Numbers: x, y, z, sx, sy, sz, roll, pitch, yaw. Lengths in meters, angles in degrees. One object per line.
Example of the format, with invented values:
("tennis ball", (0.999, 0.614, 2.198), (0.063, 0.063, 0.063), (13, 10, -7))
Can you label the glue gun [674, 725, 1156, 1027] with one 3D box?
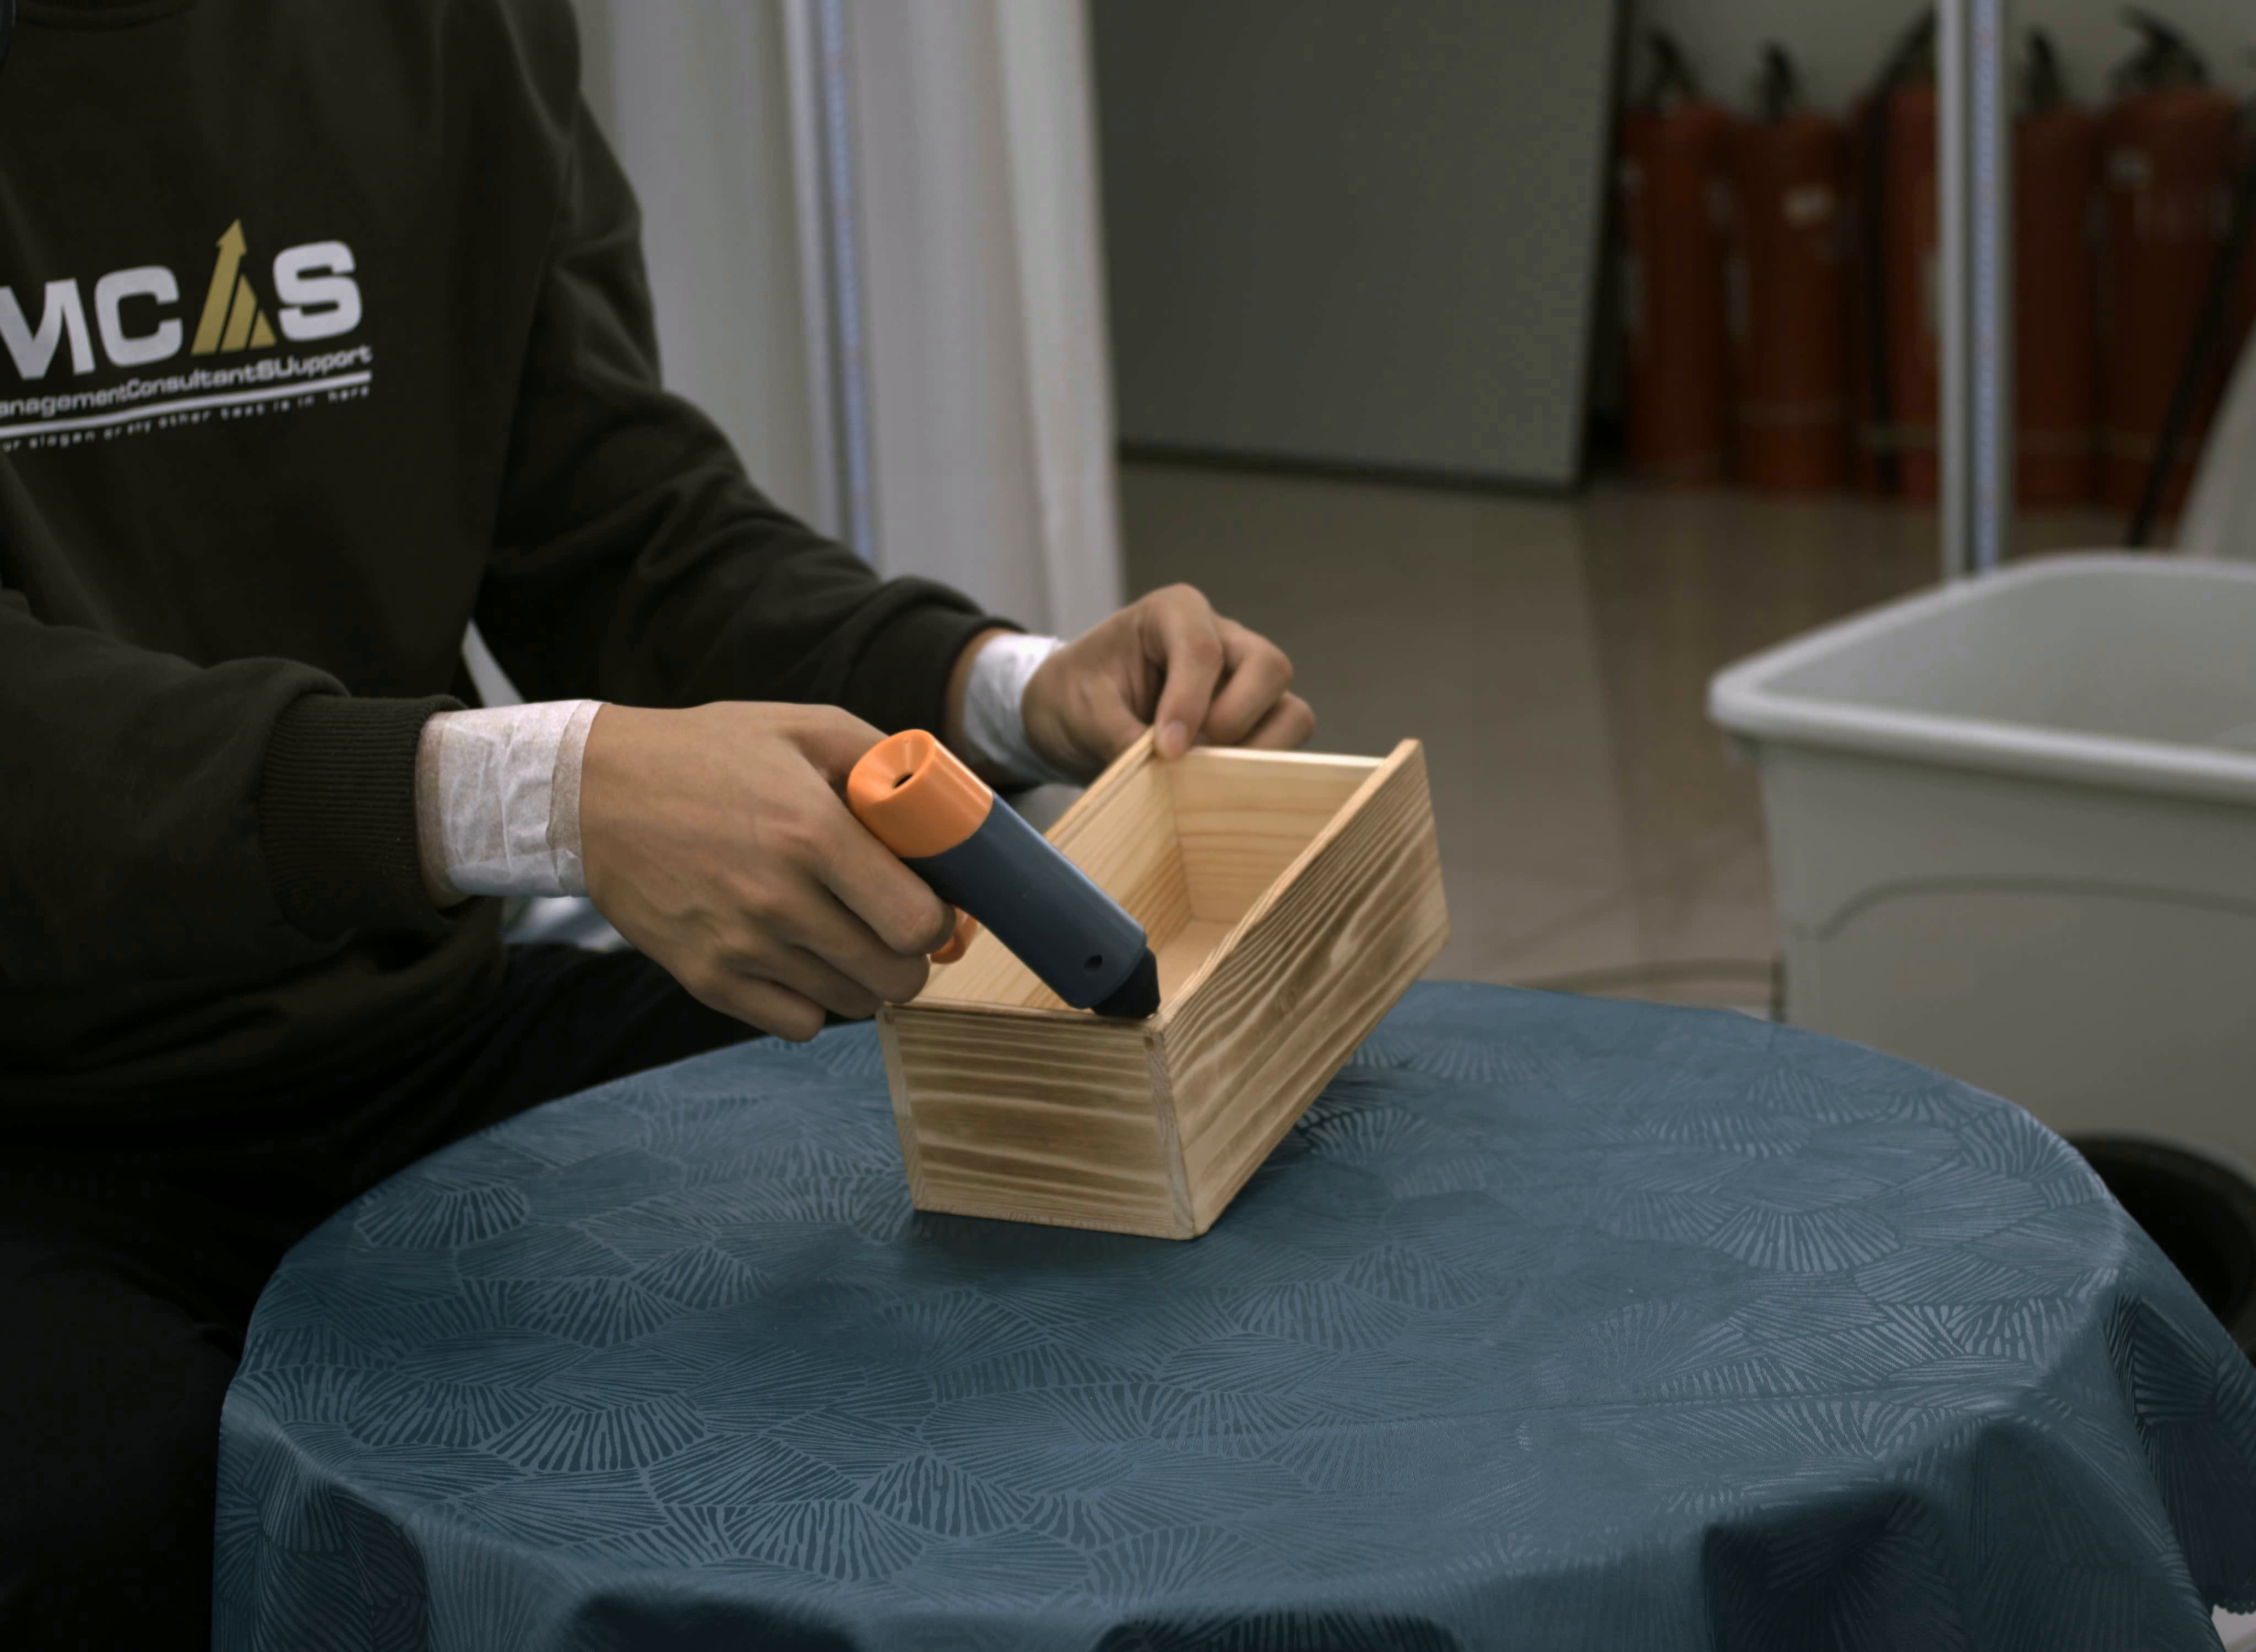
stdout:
("glue gun", (-0.067, 0.024, 1.710), (0.141, 0.117, 0.041), (-6, 39, 38))

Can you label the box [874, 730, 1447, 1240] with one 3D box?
("box", (0.015, 0.049, 1.814), (0.108, 0.081, 0.209), (2, 28, 28))
